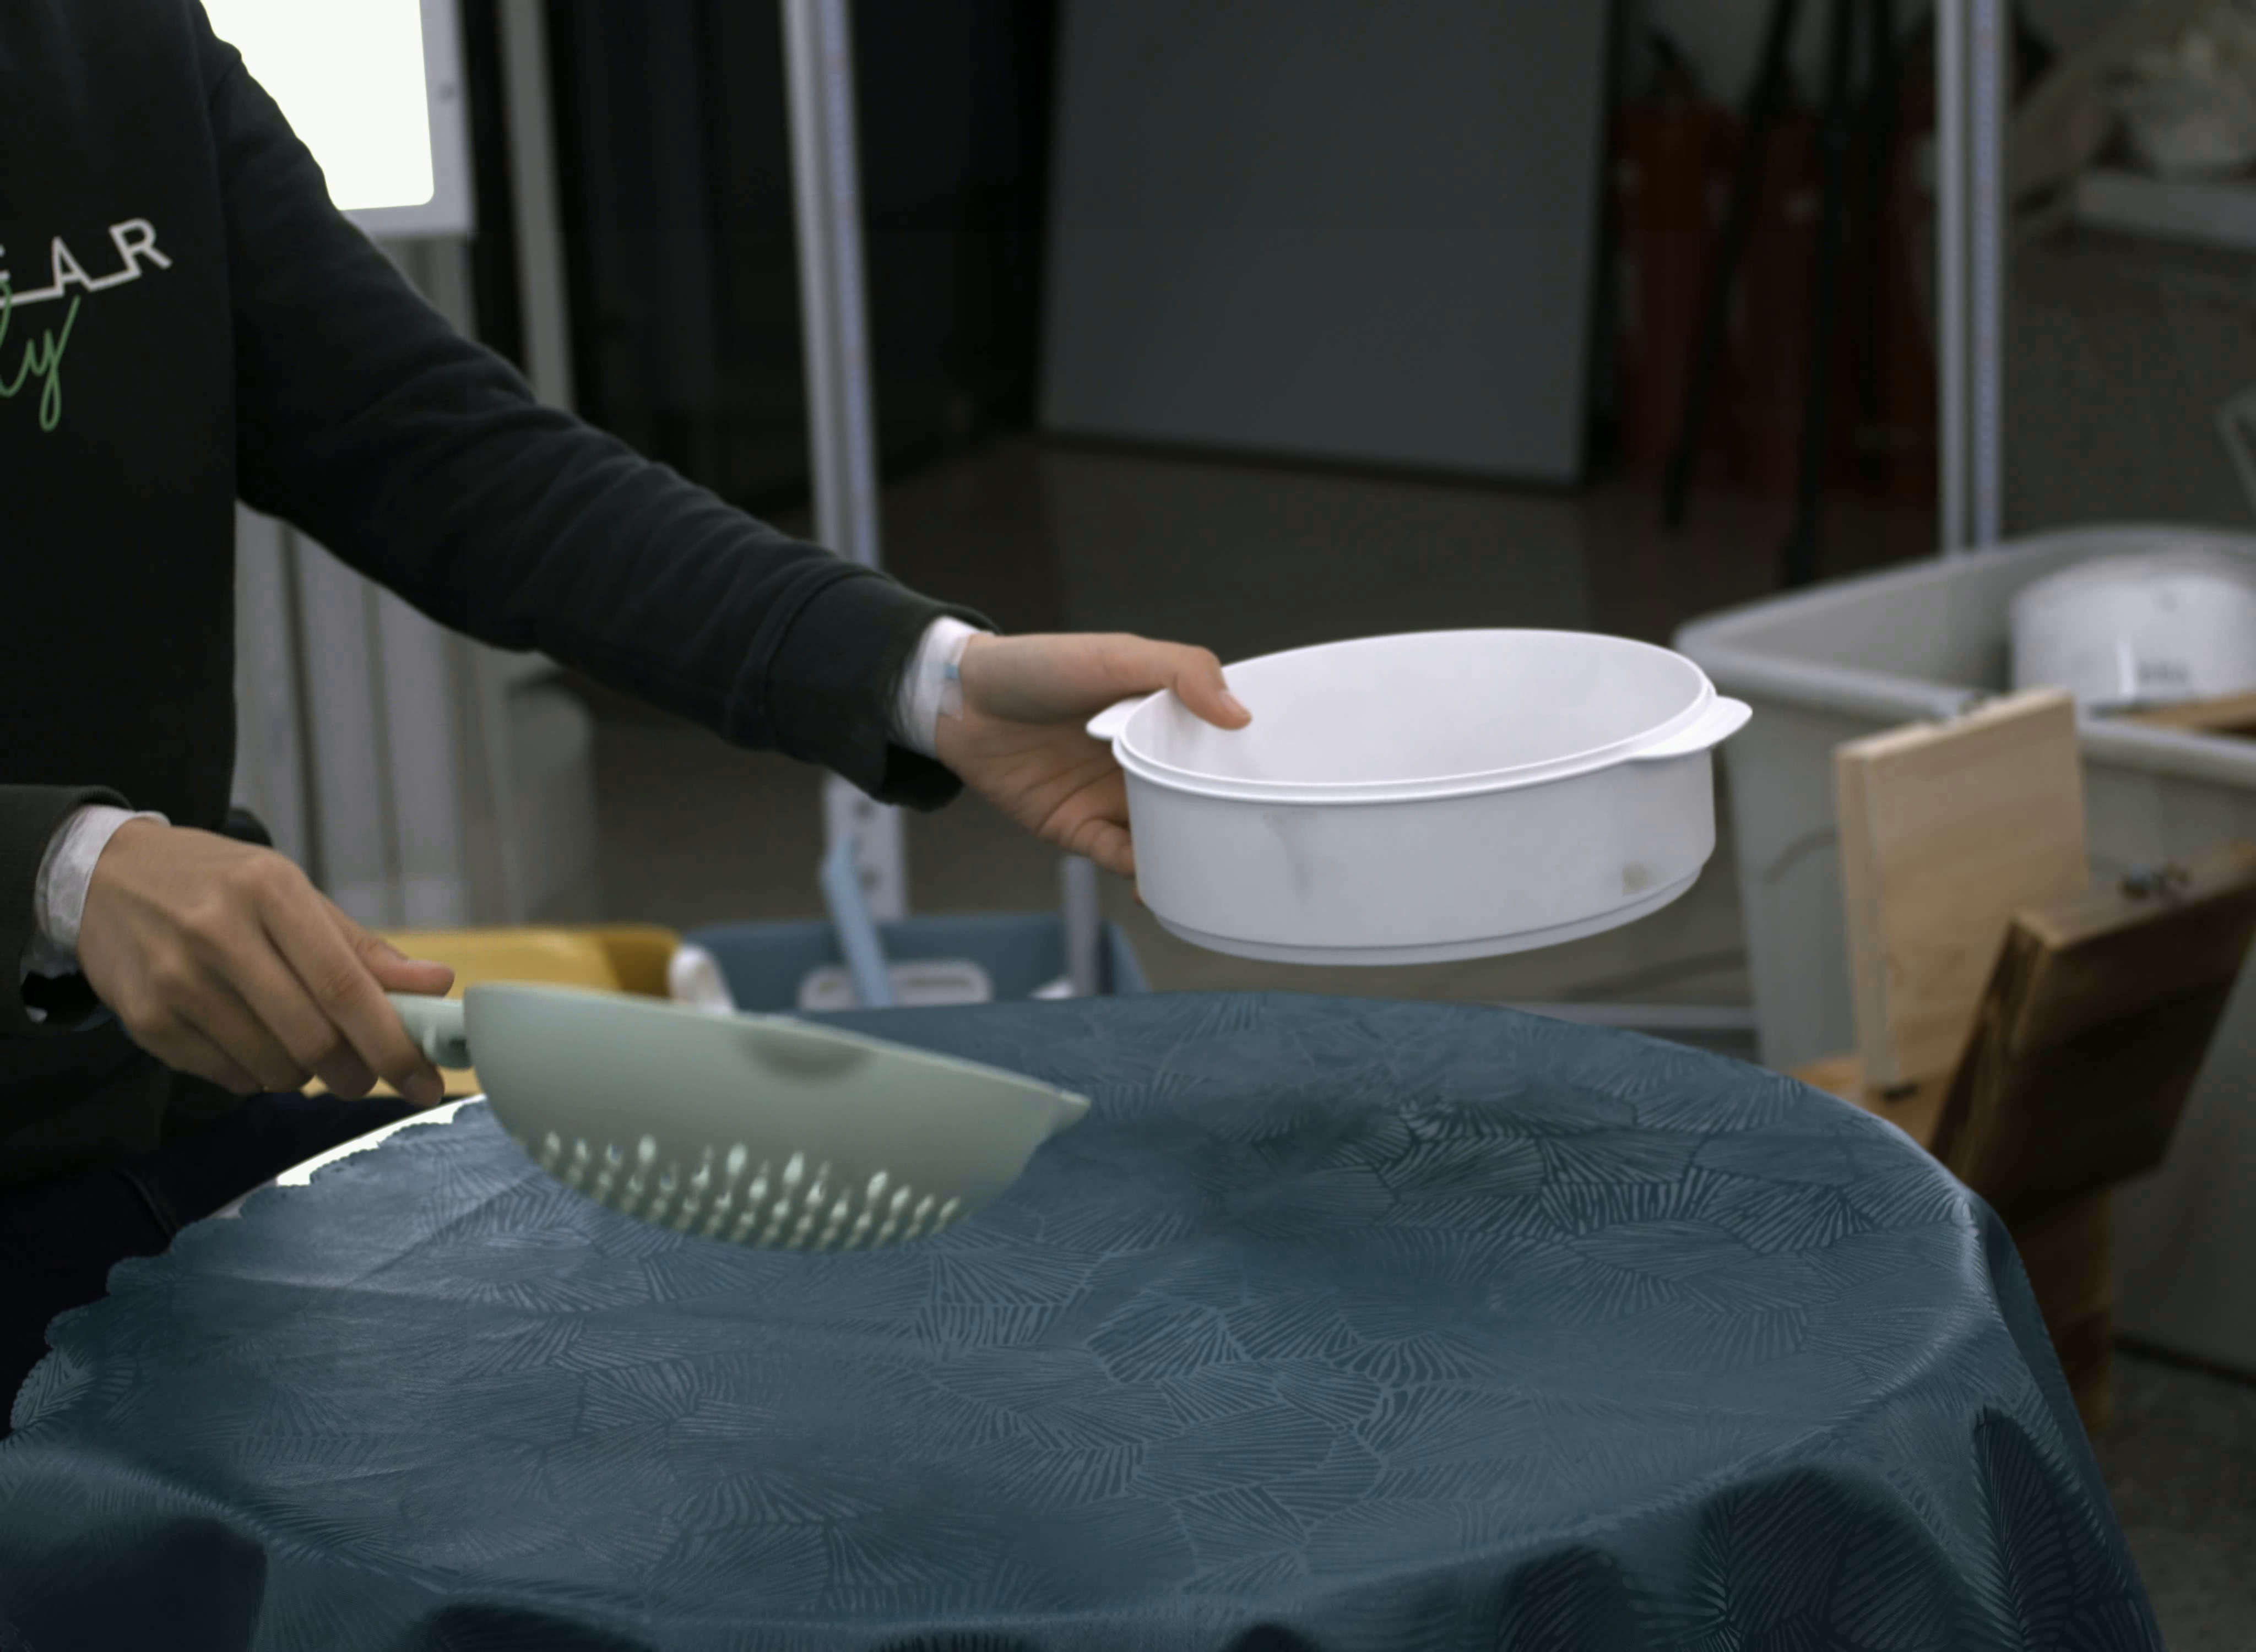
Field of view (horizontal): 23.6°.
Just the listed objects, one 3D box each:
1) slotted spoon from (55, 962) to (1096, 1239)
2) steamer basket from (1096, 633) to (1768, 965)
[{"bbox_3d":[-0.178,0.062,1.547,0.361,0.076,0.166,13,-5,39],"label":"slotted spoon"},{"bbox_3d":[0.100,-0.009,1.778,0.231,0.070,0.199,2,16,28],"label":"steamer basket"}]
